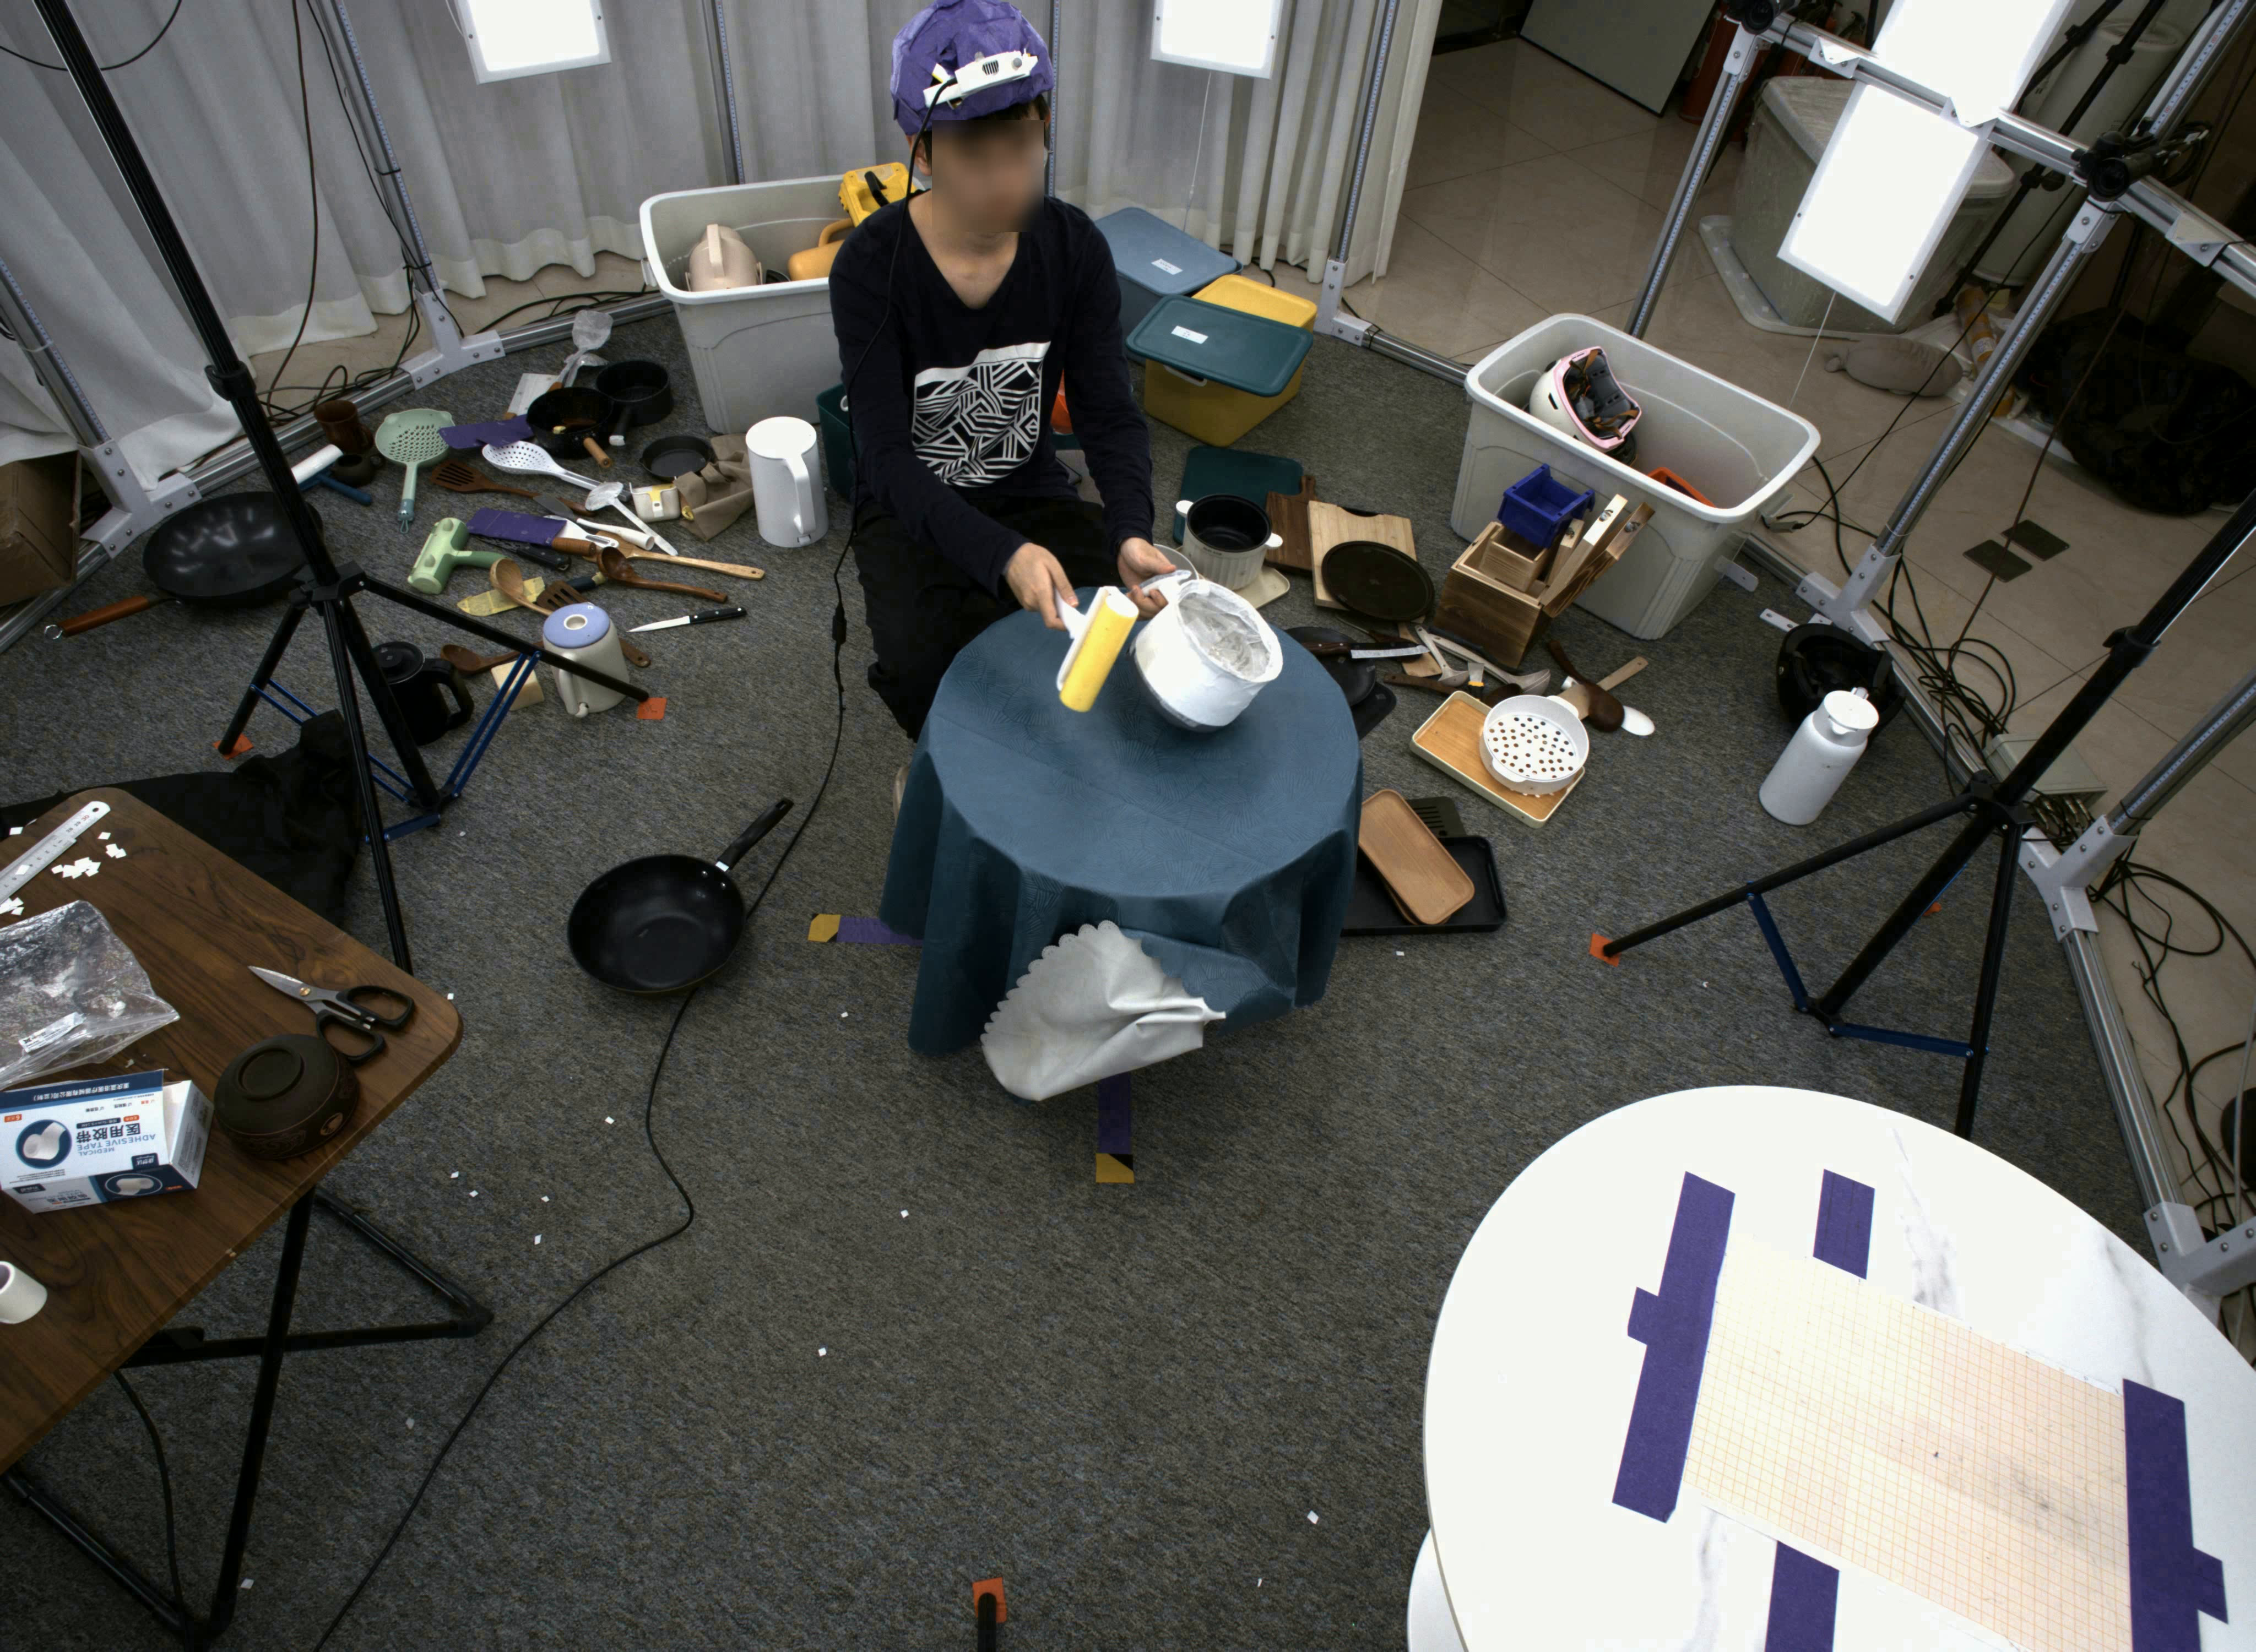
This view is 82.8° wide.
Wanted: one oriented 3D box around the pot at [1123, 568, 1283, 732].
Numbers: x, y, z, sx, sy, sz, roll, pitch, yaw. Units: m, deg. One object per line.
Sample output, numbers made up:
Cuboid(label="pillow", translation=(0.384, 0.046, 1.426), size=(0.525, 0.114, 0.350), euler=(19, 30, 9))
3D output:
Cuboid(label="pot", translation=(0.086, -0.250, 1.754), size=(0.179, 0.134, 0.236), euler=(-22, 73, -49))

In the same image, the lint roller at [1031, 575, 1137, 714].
Cuboid(label="lint roller", translation=(-0.084, -0.271, 1.713), size=(0.051, 0.171, 0.195), euler=(-12, 50, -45))
